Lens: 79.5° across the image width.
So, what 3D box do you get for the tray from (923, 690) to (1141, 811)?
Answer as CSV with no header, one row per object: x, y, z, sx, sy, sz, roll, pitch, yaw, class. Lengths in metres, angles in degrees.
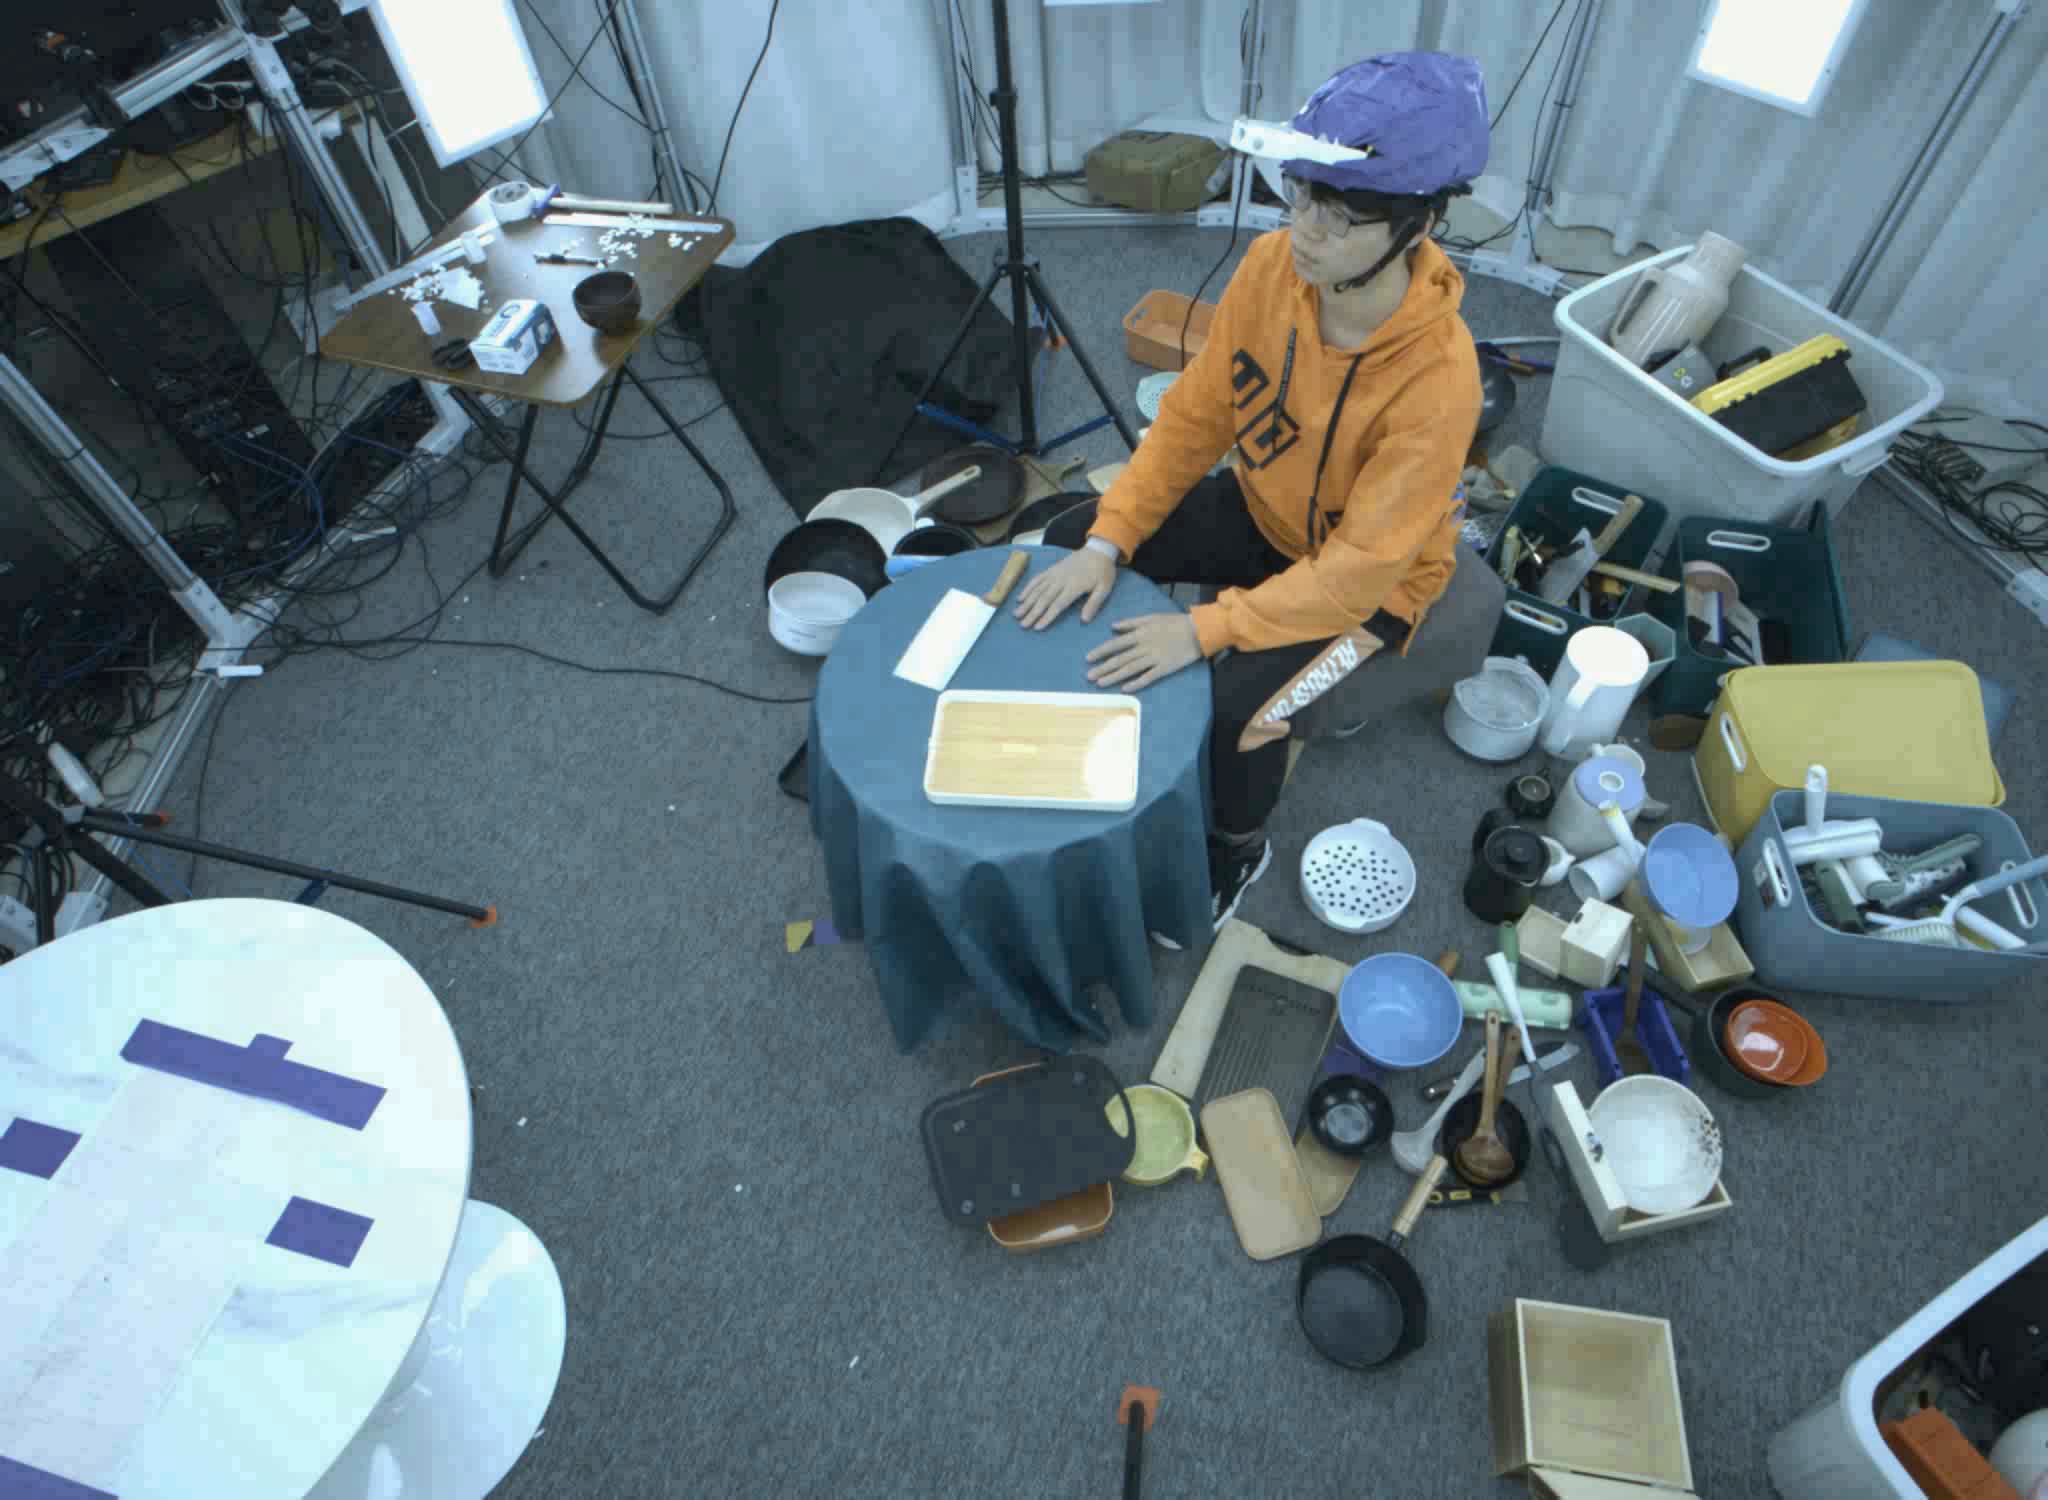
0.015,-0.001,1.771,0.299,0.028,0.190,2,55,4,tray

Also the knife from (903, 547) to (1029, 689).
-0.094,-0.218,1.935,0.091,0.021,0.306,21,61,18,knife
